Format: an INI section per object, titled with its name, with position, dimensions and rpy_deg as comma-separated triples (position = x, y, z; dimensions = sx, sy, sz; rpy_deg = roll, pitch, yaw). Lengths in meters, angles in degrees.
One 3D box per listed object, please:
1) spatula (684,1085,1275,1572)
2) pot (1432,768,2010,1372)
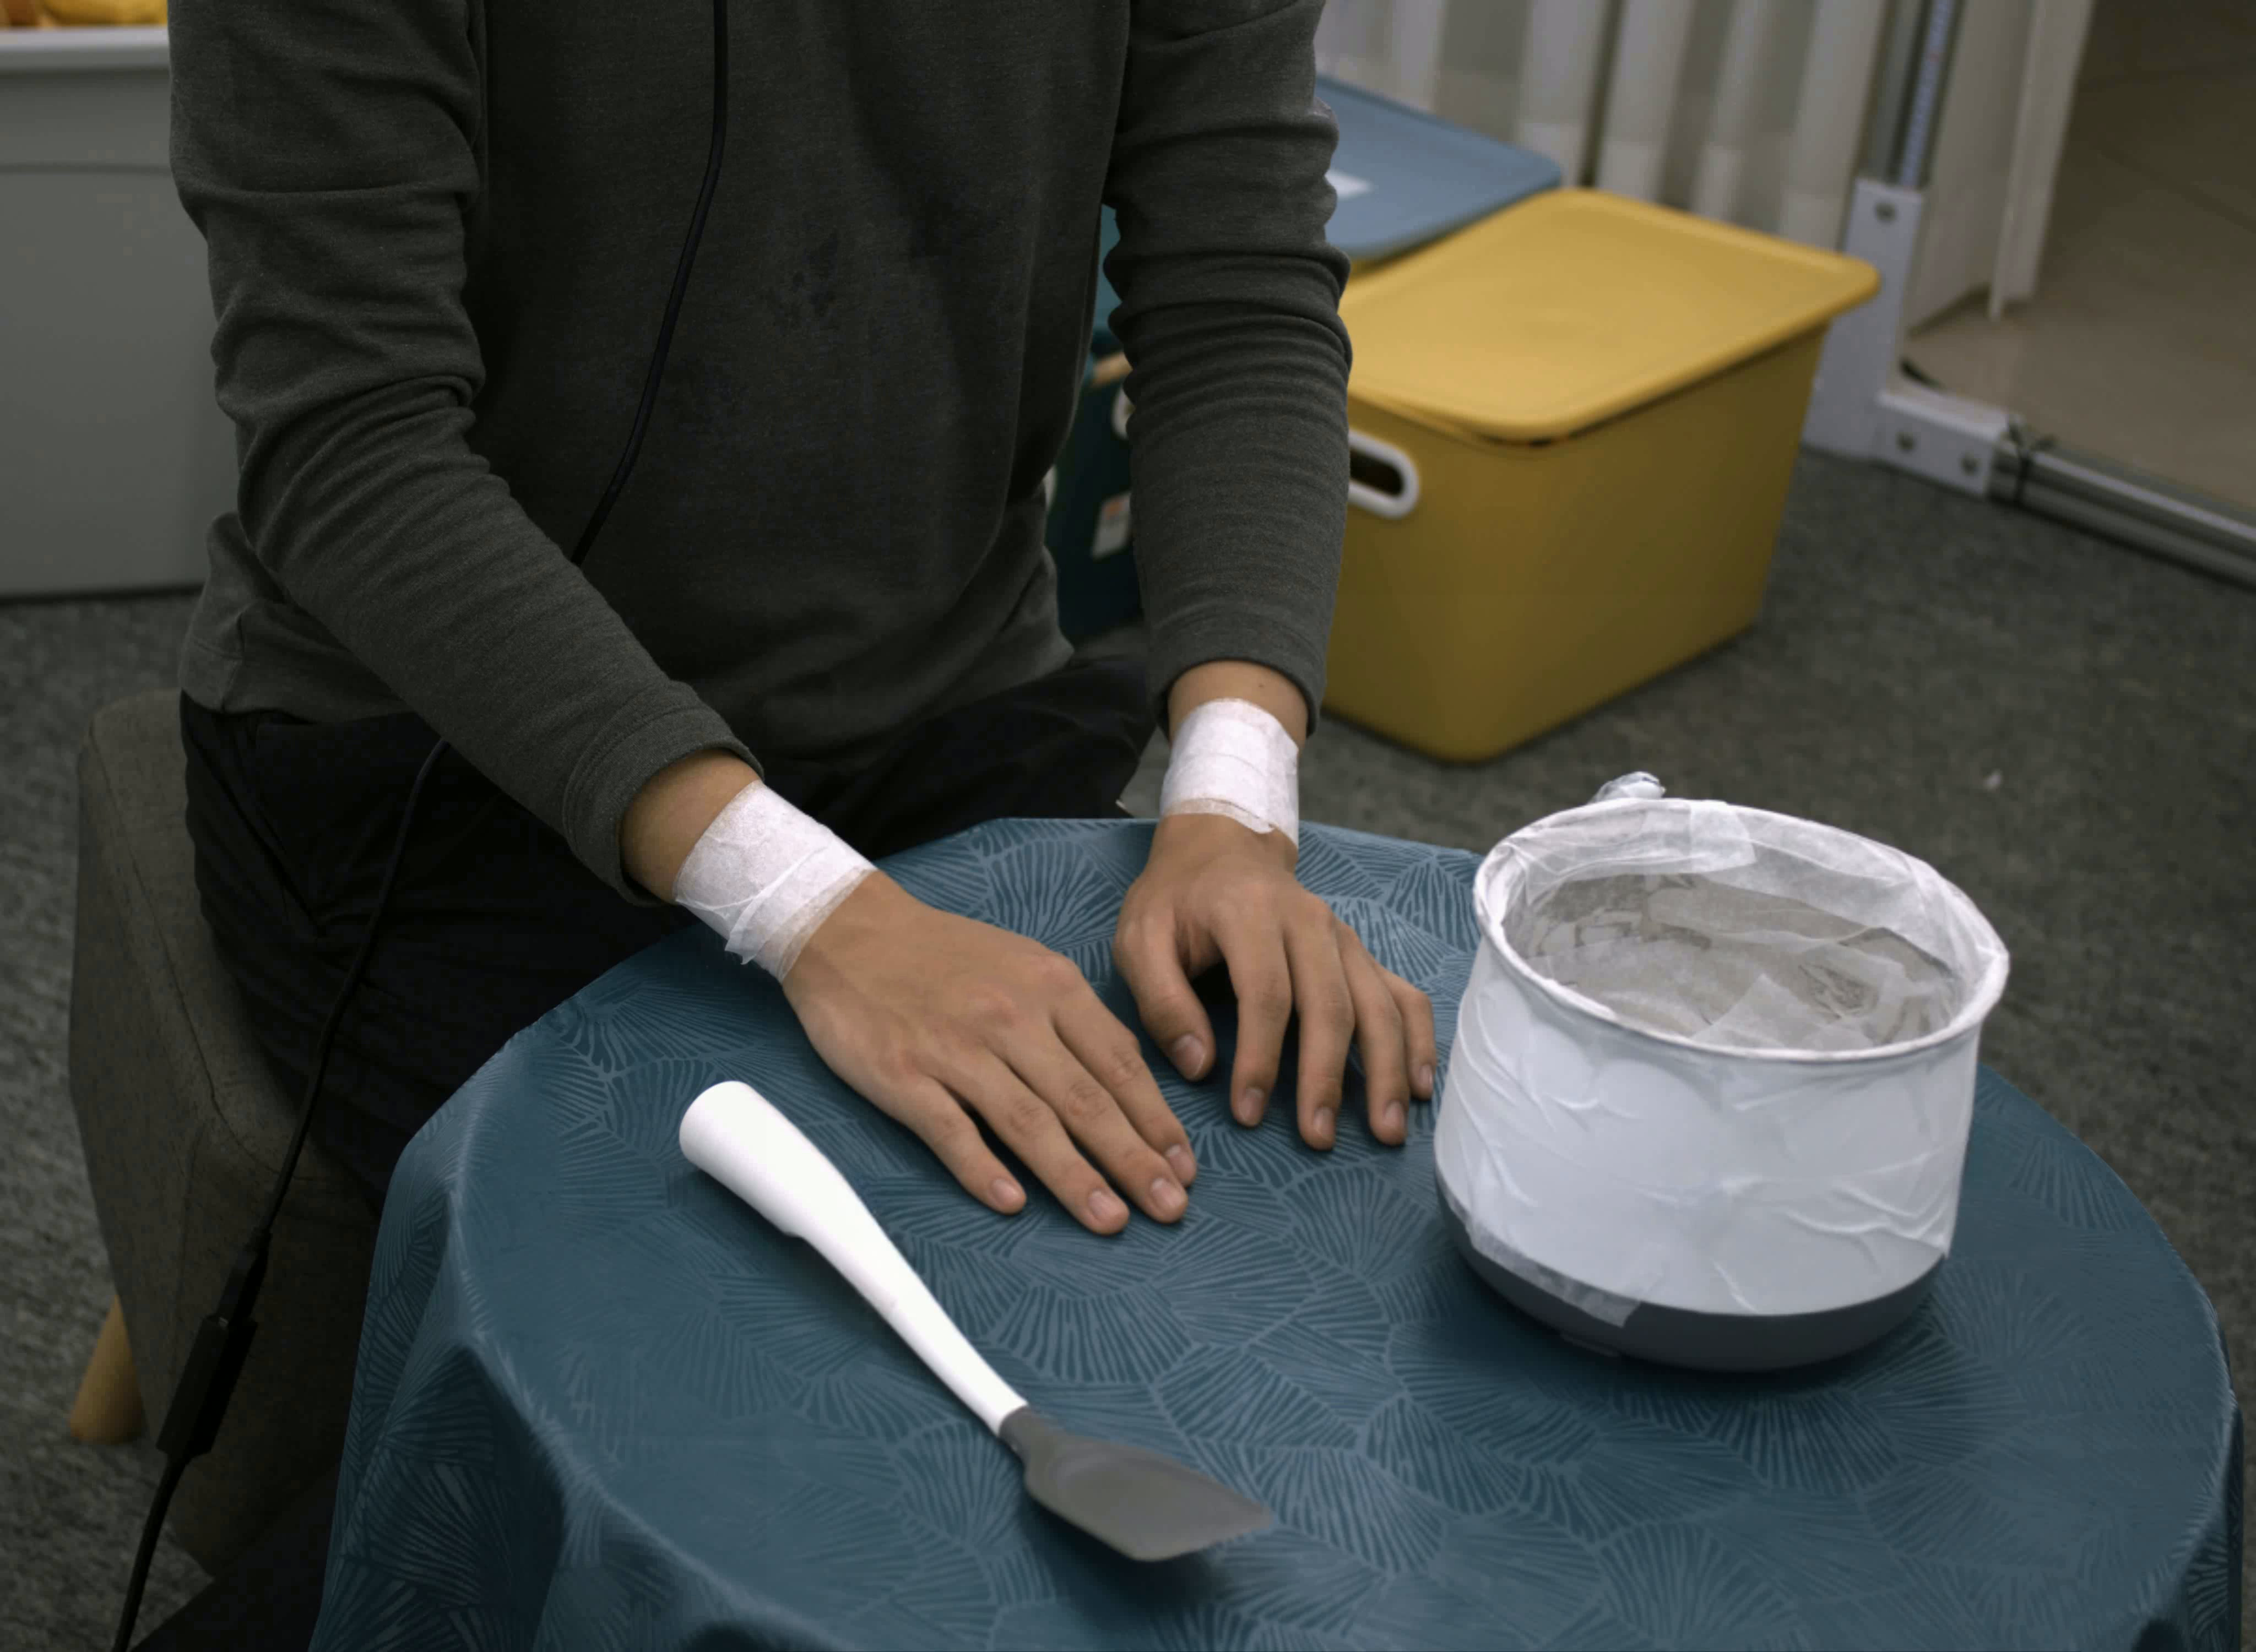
[spatula]
position = -0.055, 0.161, 1.681
dimensions = 0.058, 0.032, 0.290
rpy_deg = -9, 30, -34
[pot]
position = 0.186, 0.075, 1.793
dimensions = 0.177, 0.136, 0.236
rpy_deg = -1, 28, -17
